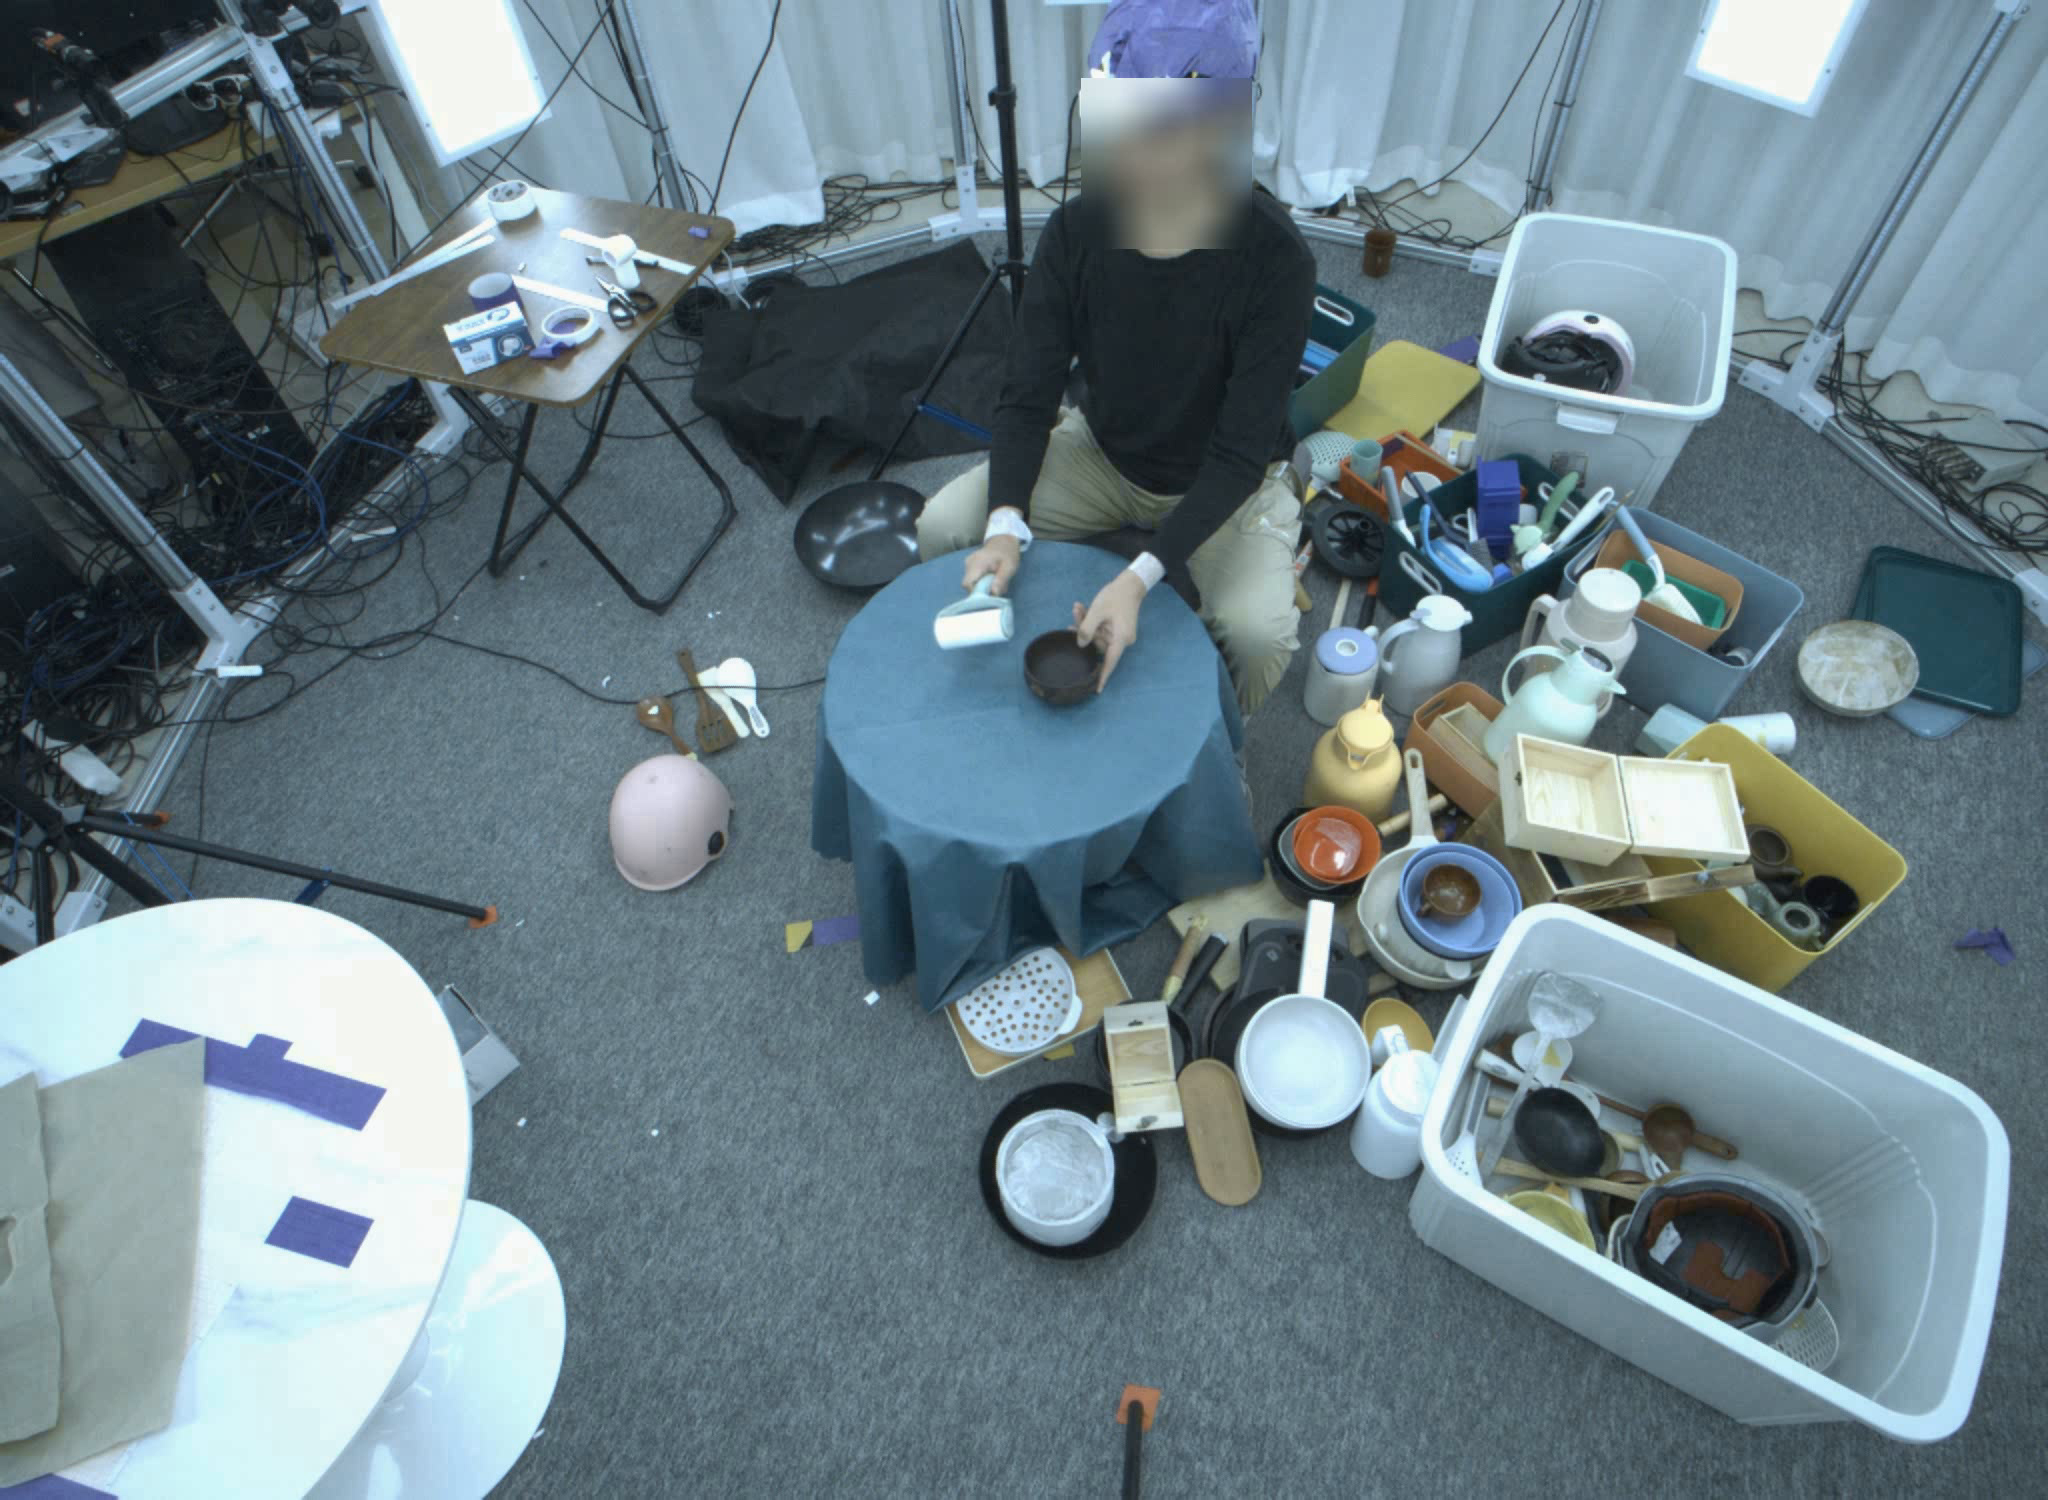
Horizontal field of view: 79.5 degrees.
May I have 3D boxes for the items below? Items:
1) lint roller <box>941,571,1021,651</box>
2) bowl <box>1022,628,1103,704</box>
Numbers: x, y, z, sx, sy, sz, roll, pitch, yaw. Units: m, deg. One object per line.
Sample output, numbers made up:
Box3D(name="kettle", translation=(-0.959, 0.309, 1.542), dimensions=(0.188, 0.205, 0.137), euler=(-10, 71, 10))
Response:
Box3D(name="lint roller", translation=(-0.053, -0.224, 1.853), dimensions=(0.115, 0.049, 0.196), euler=(-7, 40, 17))
Box3D(name="bowl", translation=(0.058, -0.116, 1.823), dimensions=(0.118, 0.070, 0.117), euler=(-1, 54, 3))
